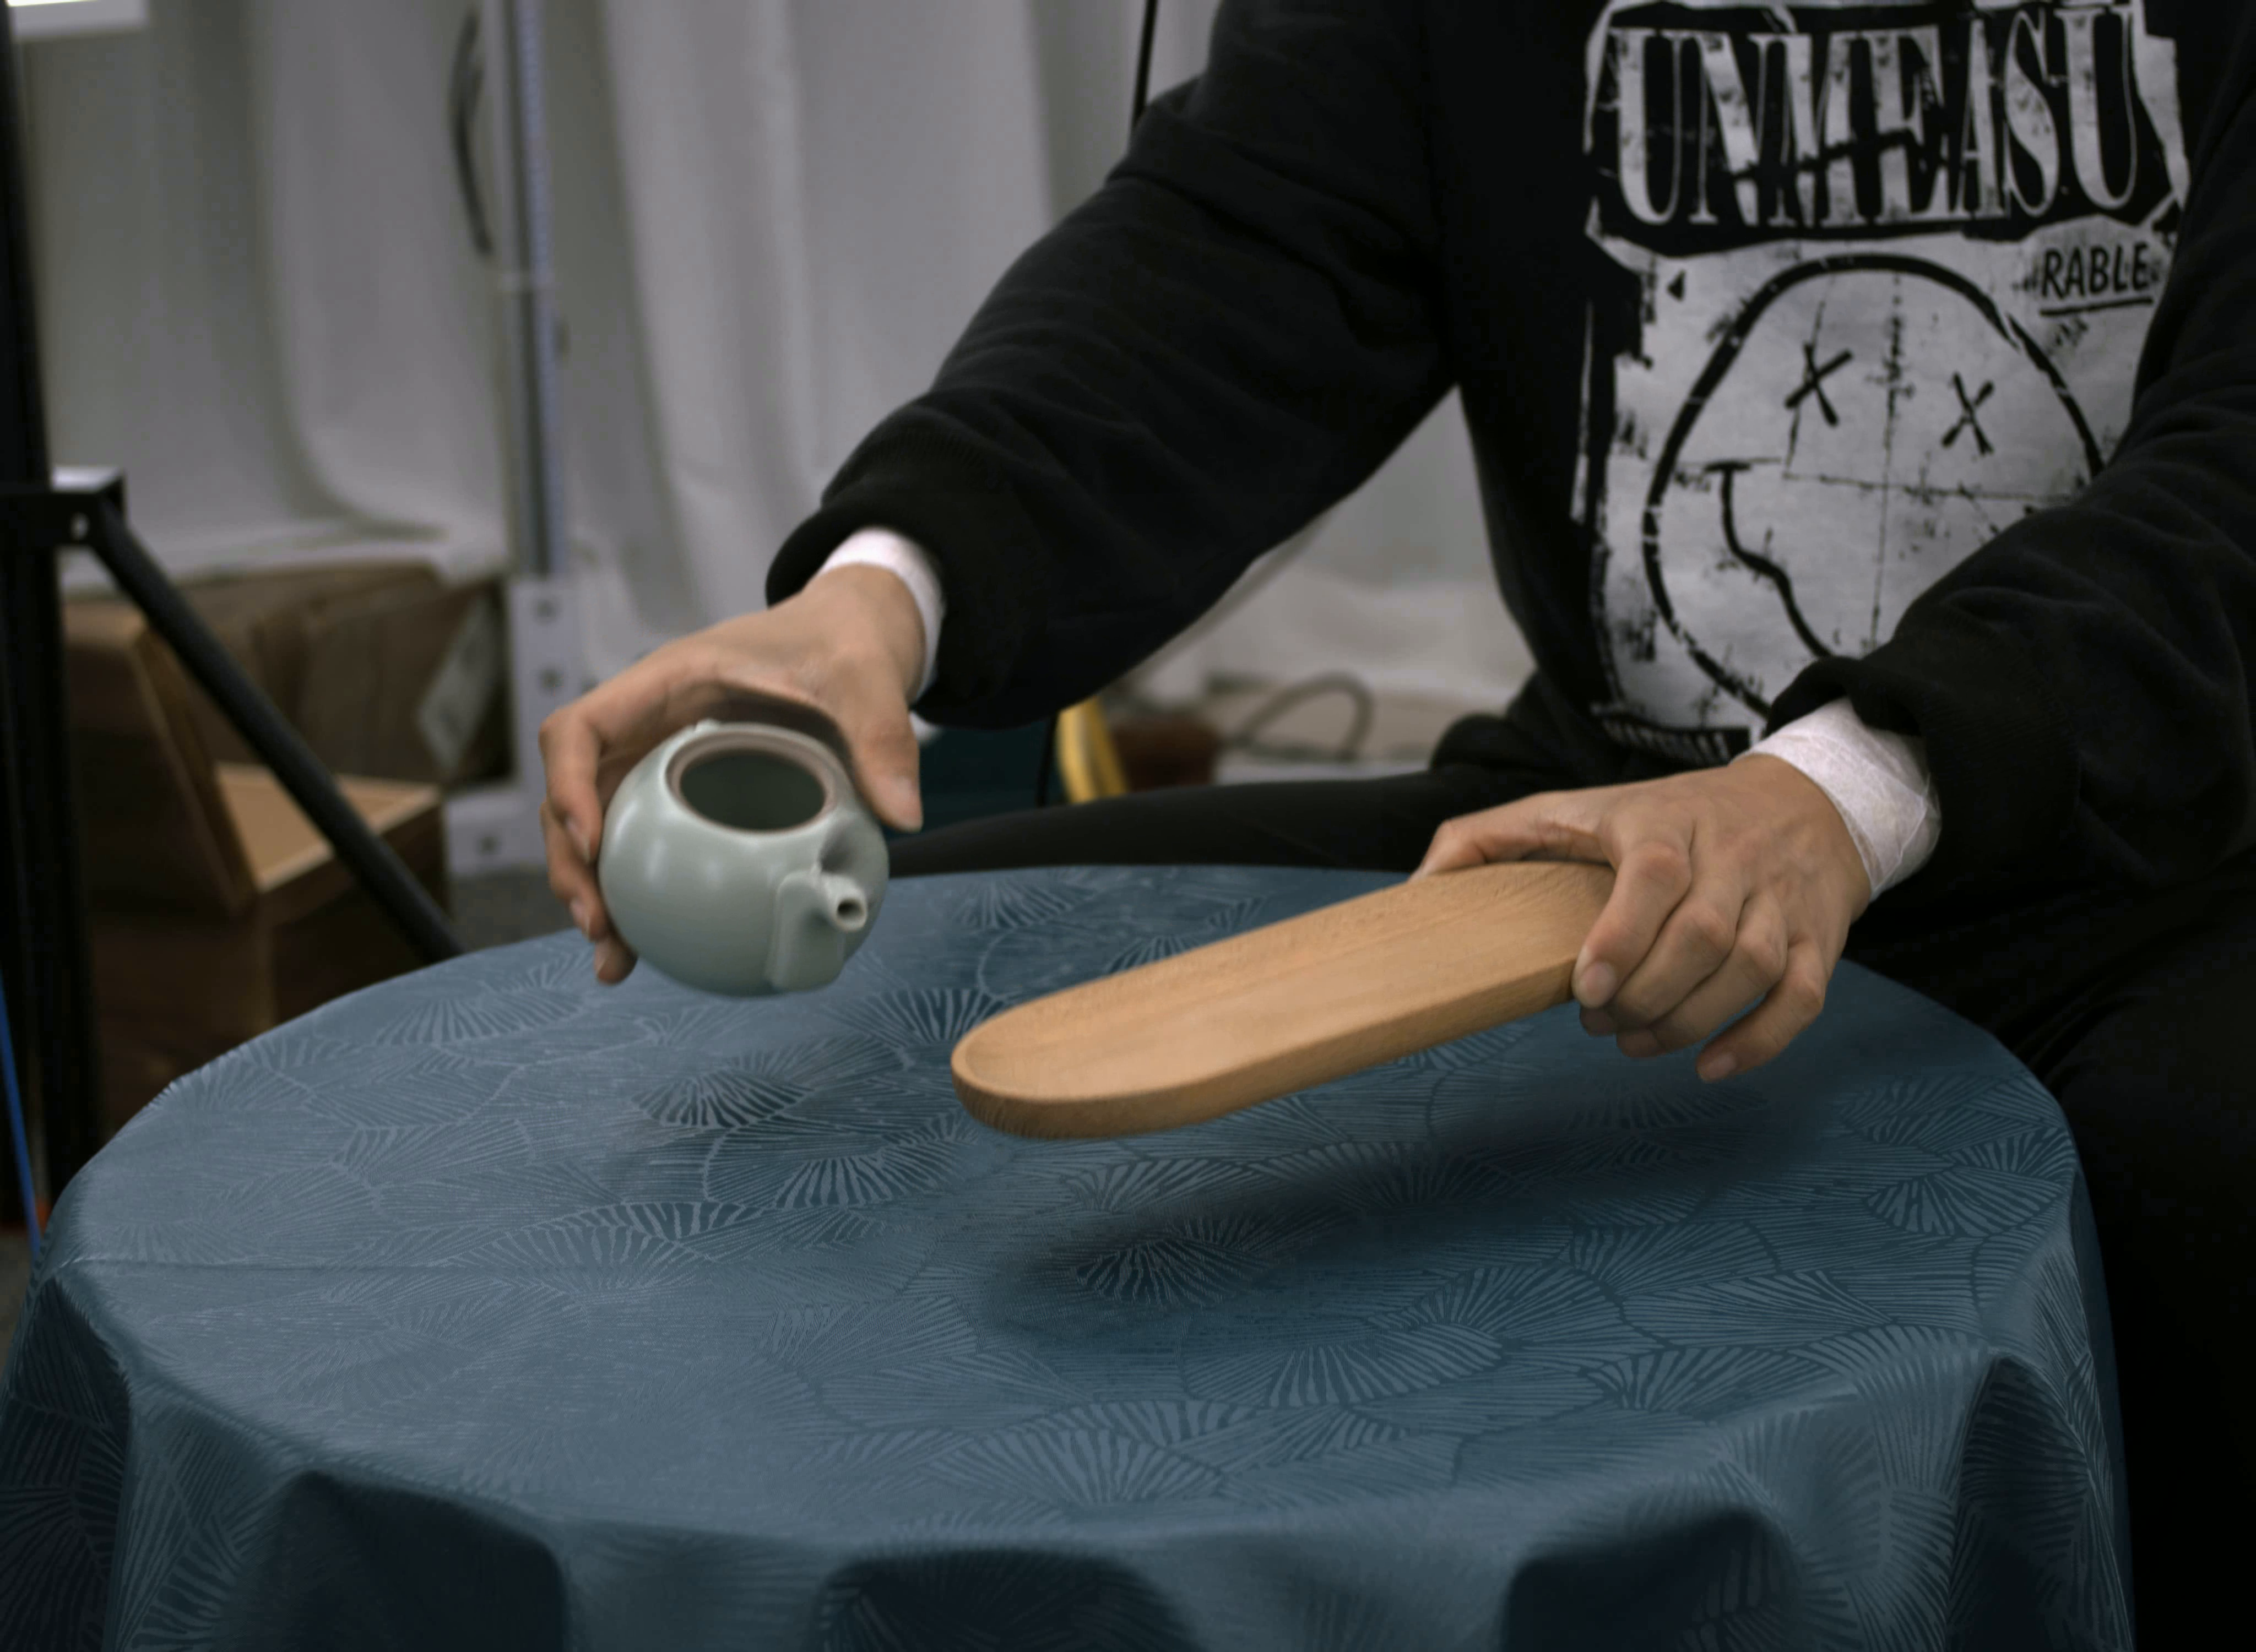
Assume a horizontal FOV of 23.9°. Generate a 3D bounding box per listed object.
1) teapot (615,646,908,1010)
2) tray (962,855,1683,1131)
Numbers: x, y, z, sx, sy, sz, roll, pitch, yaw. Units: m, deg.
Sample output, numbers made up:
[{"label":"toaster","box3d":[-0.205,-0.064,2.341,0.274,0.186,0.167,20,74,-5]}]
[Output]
[{"label":"teapot","box3d":[-0.110,0.013,1.600,0.086,0.074,0.147,-10,40,-25]},{"label":"tray","box3d":[0.058,0.047,1.529,0.226,0.020,0.104,-15,19,-28]}]
